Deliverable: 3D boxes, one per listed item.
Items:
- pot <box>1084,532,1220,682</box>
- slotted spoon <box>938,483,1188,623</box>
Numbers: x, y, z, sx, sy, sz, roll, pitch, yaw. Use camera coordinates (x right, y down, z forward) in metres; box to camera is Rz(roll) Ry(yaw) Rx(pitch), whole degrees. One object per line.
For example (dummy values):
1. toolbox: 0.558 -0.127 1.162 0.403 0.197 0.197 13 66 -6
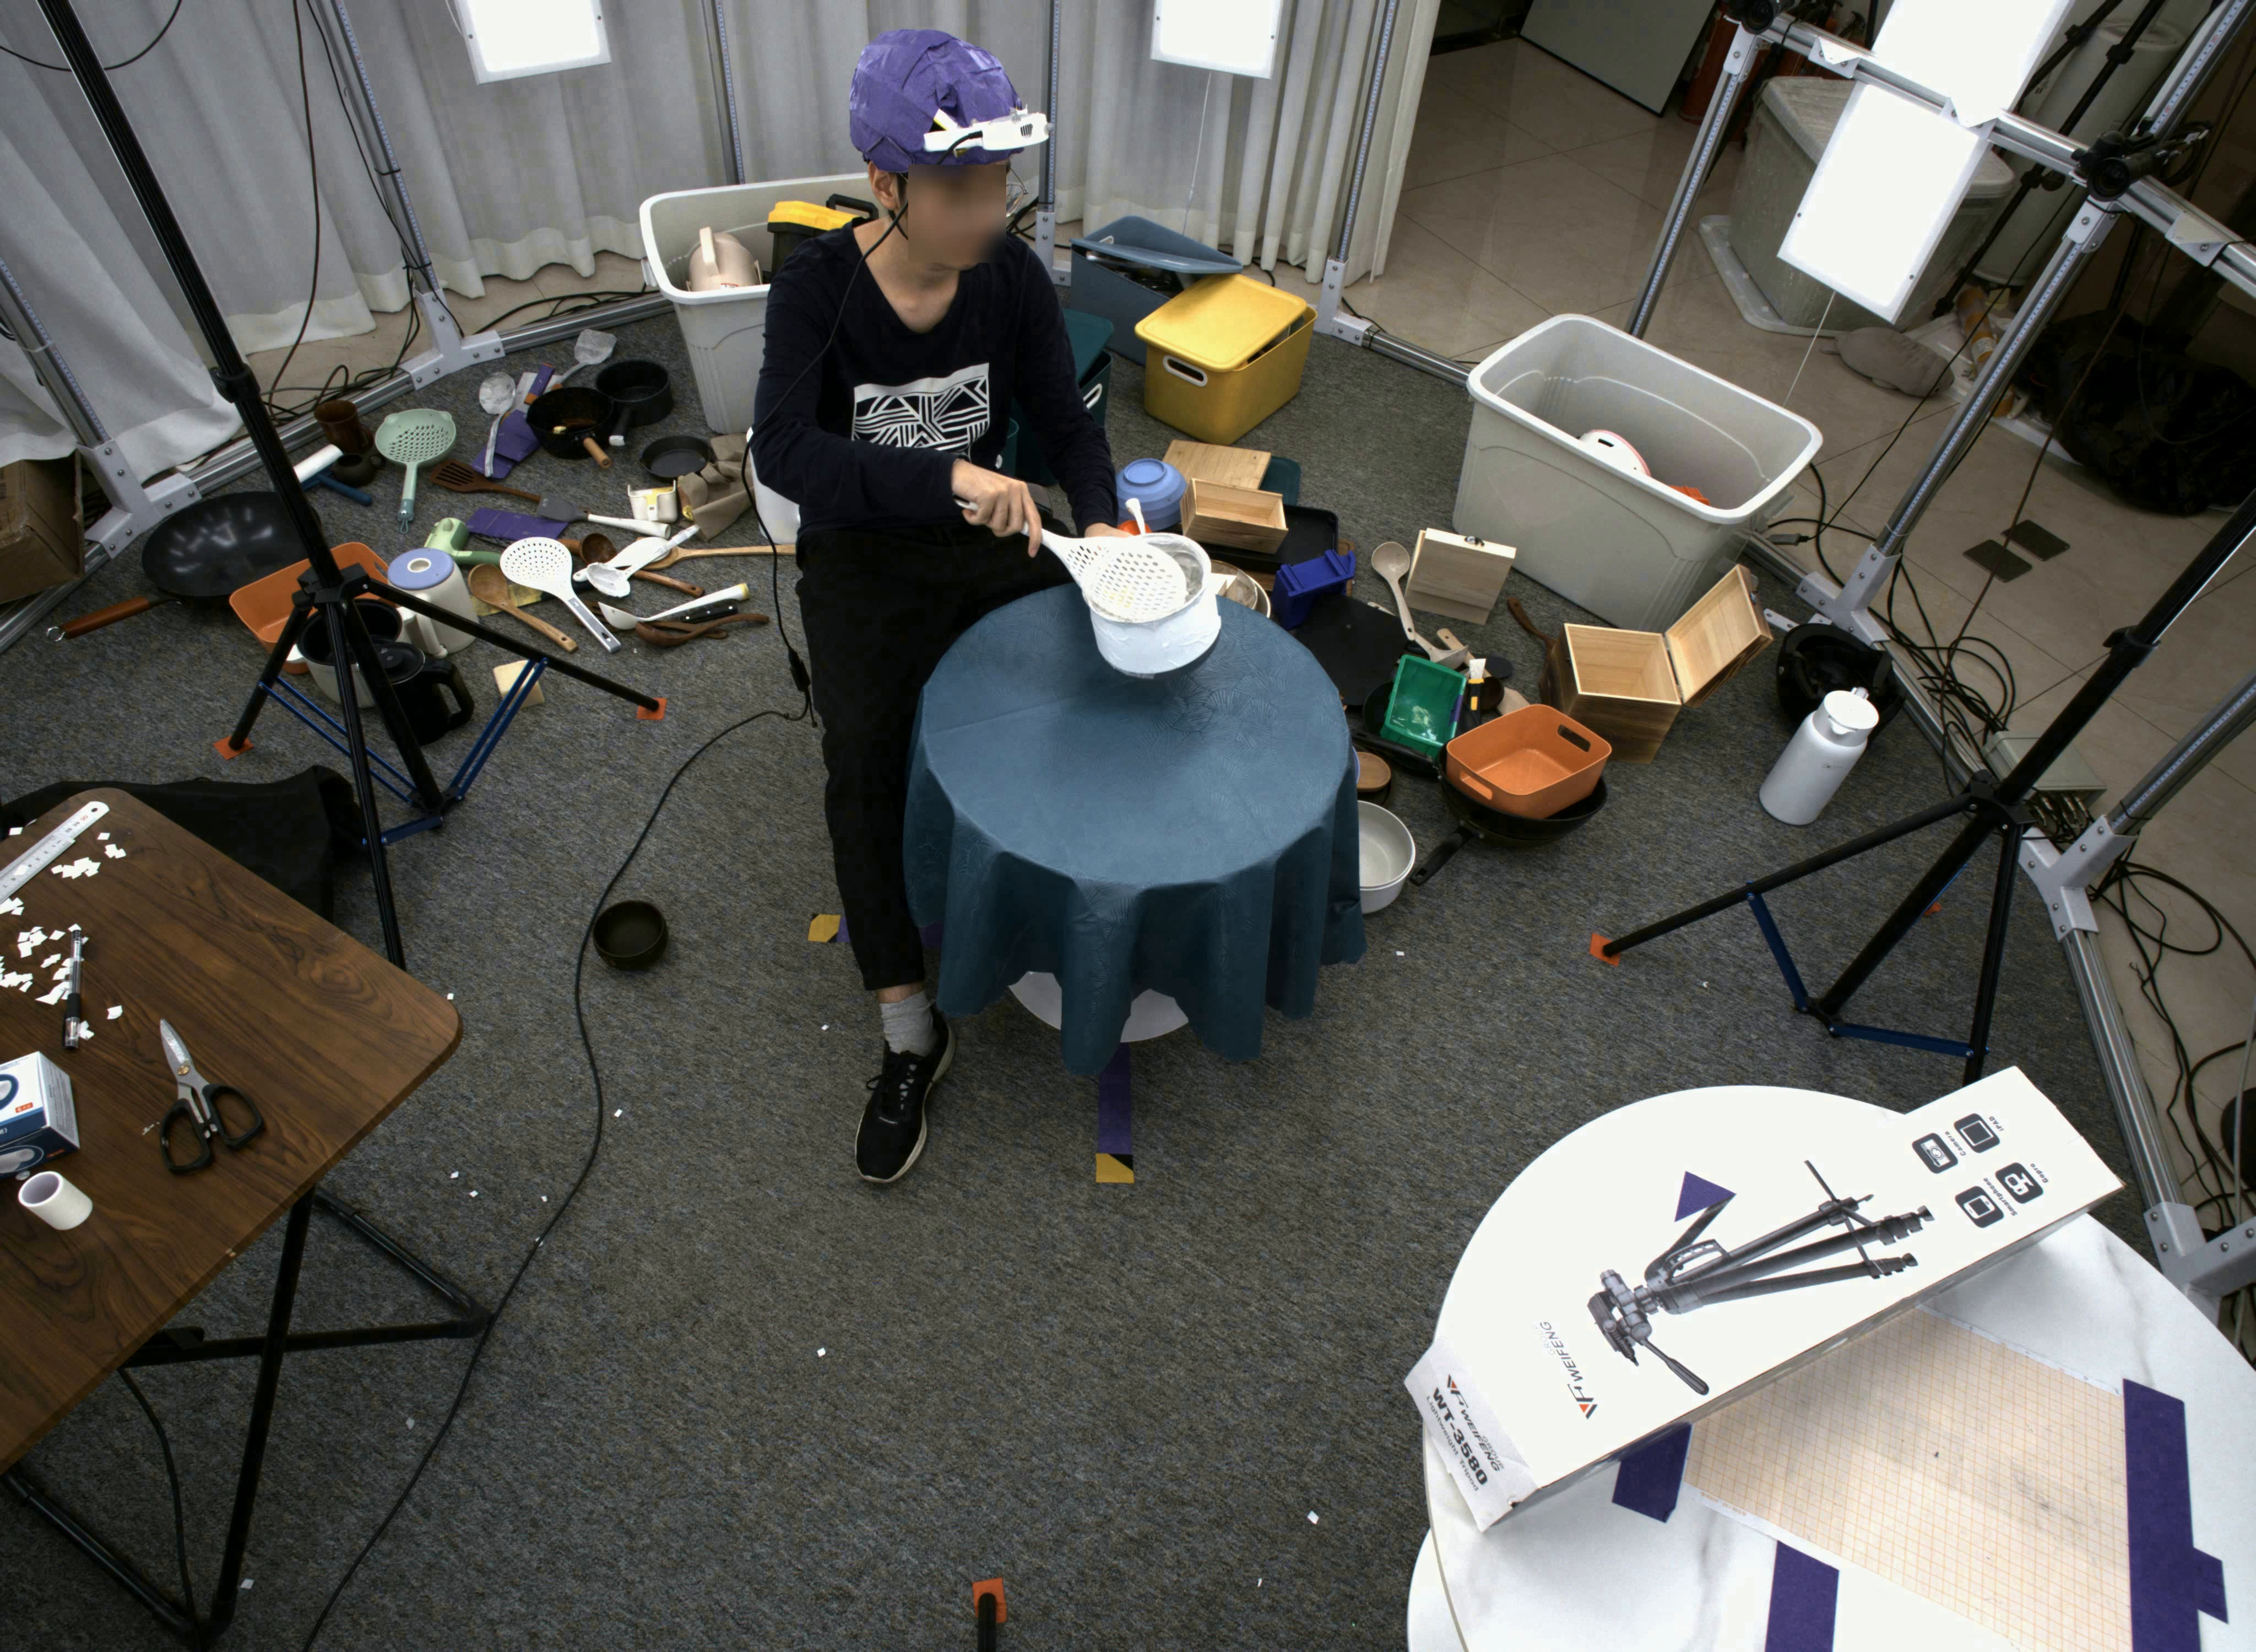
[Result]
1. pot: 0.023 -0.315 1.790 0.179 0.133 0.239 -28 51 -13
2. slotted spoon: -0.087 -0.362 1.681 0.348 0.134 0.051 30 47 4
